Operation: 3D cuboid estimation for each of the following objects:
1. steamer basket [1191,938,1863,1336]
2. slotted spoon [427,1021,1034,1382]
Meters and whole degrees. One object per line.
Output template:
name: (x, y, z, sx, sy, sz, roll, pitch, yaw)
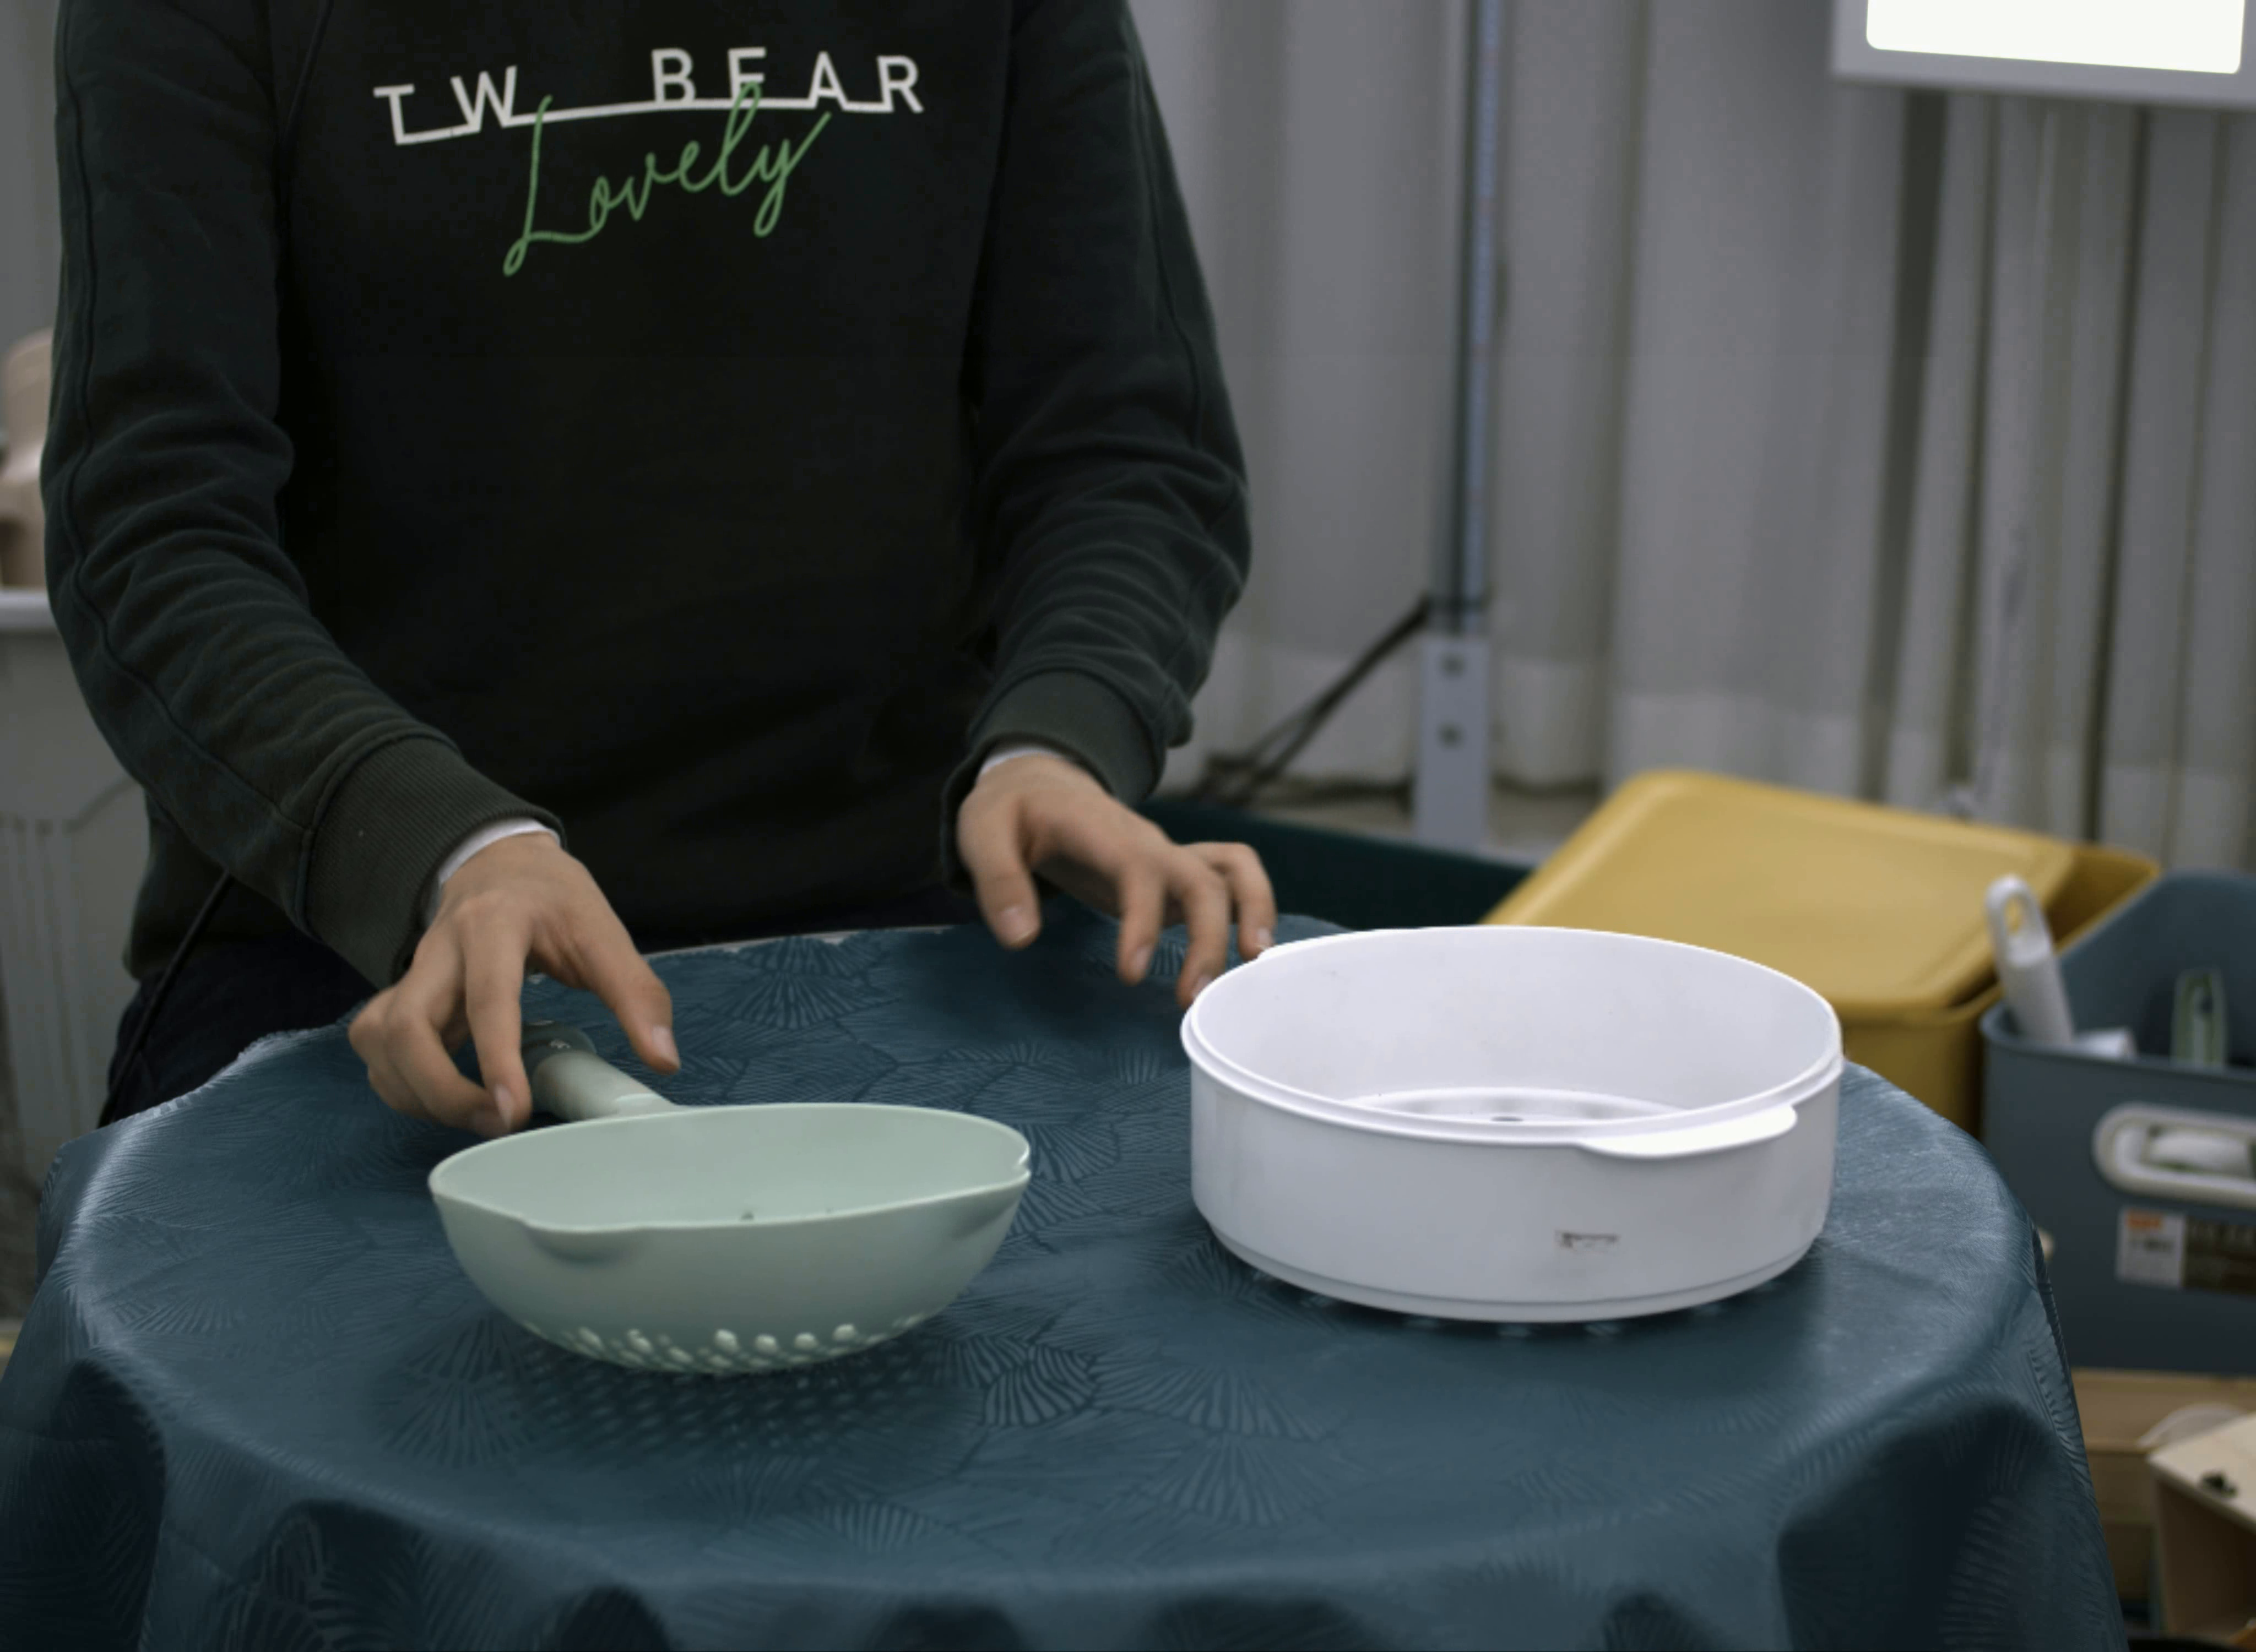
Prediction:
steamer basket: (0.118, 0.093, 1.583, 0.203, 0.070, 0.227, -7, 18, -28)
slotted spoon: (-0.142, 0.095, 1.564, 0.170, 0.076, 0.355, -4, 17, -19)
